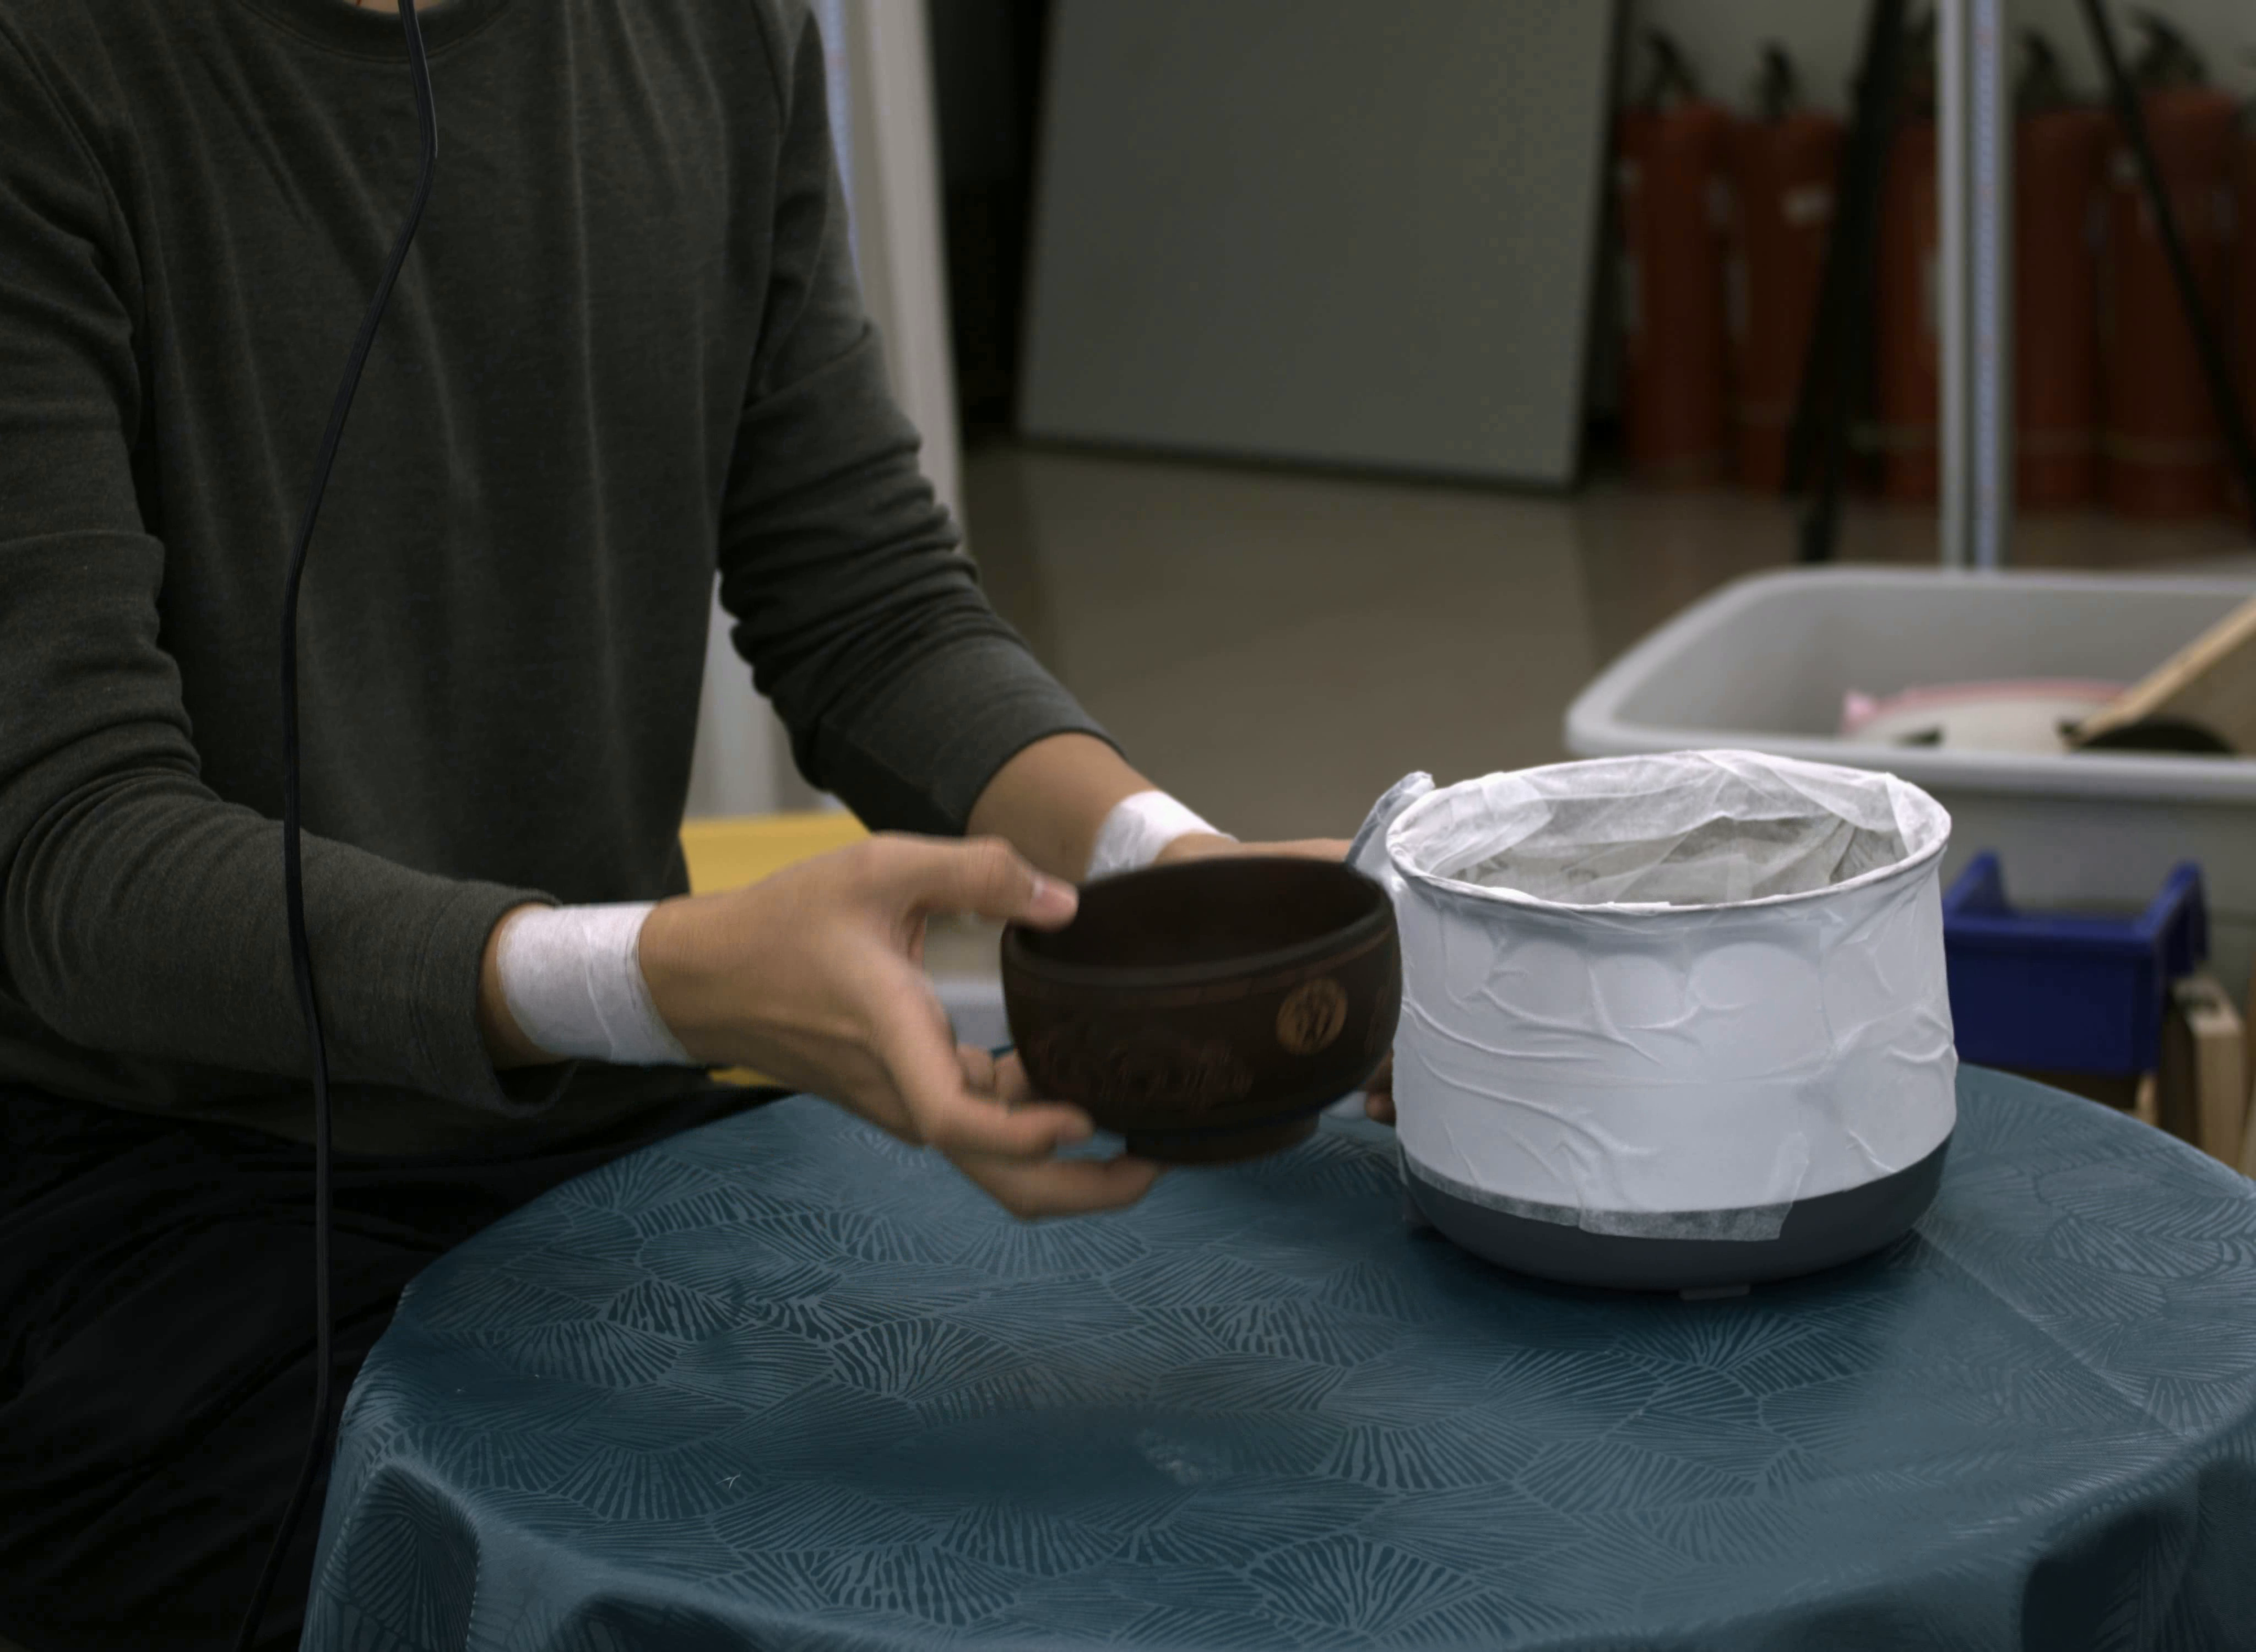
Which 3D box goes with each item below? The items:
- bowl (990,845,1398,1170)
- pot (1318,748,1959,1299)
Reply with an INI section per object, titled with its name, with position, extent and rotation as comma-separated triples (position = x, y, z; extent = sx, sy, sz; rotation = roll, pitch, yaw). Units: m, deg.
[bowl]
position = 0.022, 0.056, 1.548
extent = 0.117, 0.070, 0.118
rotation = -11, 15, 2
[pot]
position = 0.149, 0.057, 1.698
extent = 0.235, 0.138, 0.175
rotation = 8, 18, 40
